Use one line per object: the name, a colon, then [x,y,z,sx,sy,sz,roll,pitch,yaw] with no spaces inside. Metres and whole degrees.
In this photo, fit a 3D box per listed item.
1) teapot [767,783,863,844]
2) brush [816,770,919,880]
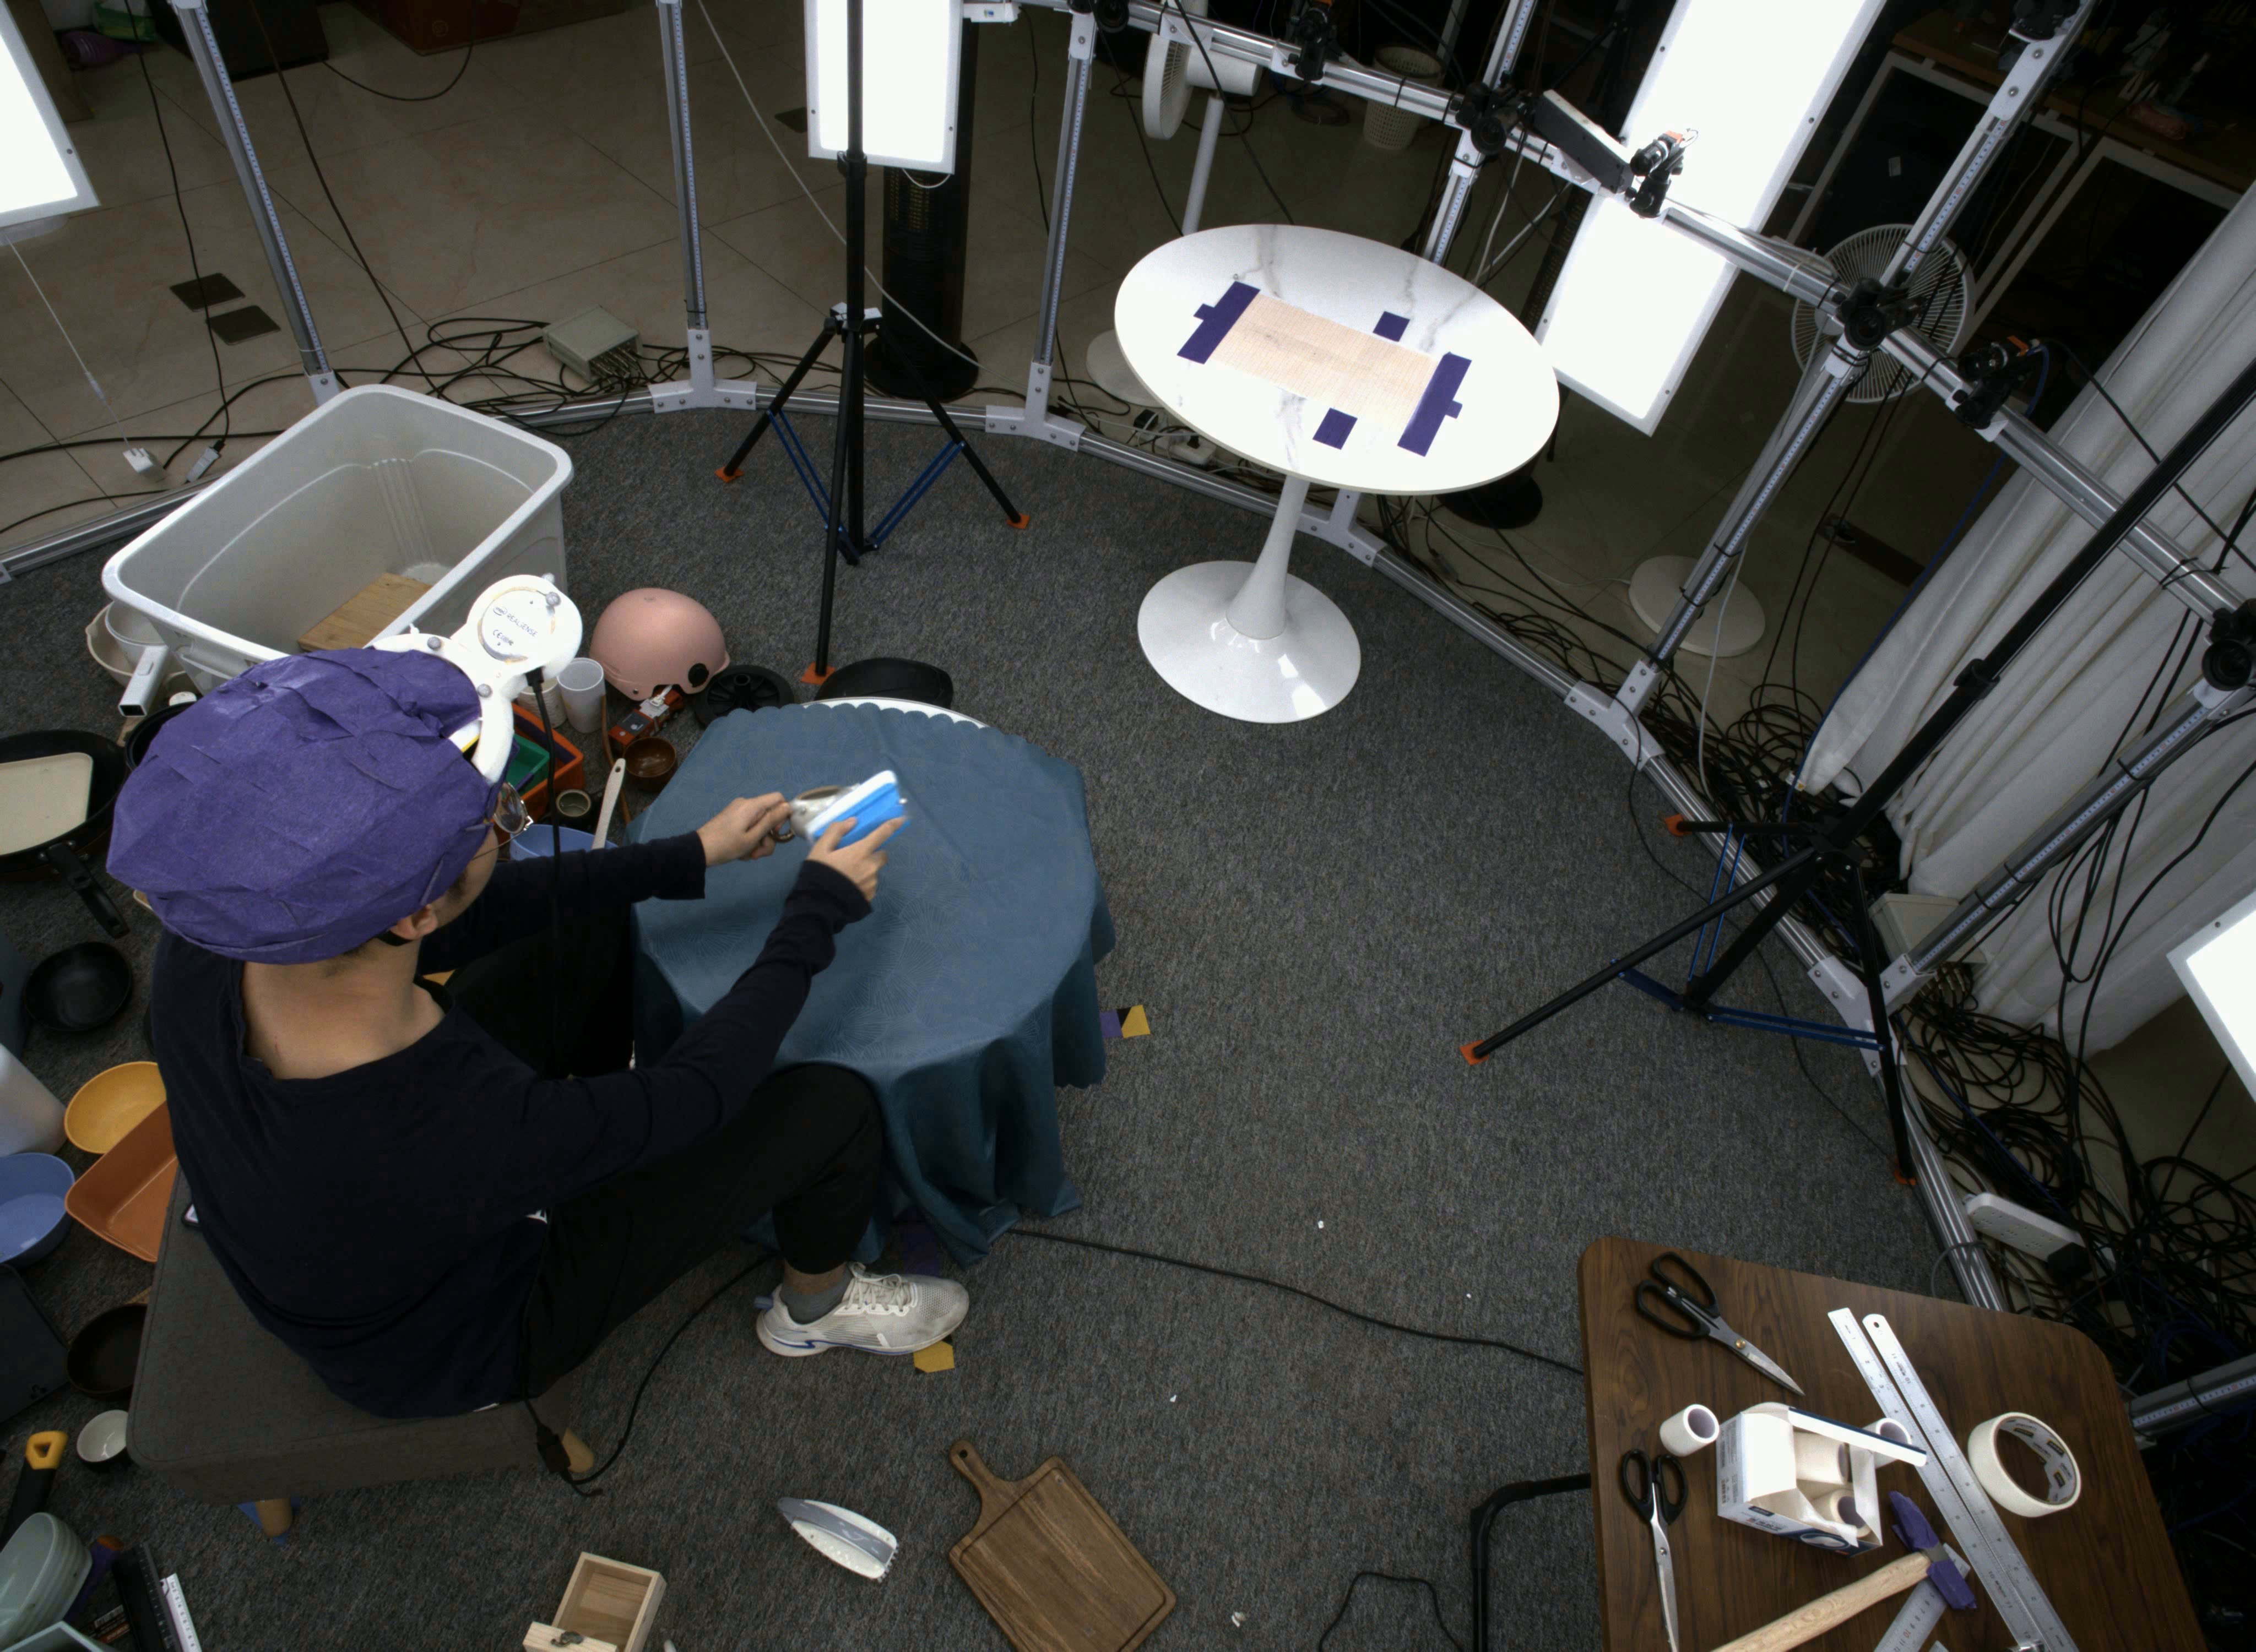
teapot: [-0.383,-0.012,1.601,0.129,0.061,0.088,-16,20,-28]
brush: [-0.309,-0.003,1.575,0.054,0.087,0.144,11,41,36]
